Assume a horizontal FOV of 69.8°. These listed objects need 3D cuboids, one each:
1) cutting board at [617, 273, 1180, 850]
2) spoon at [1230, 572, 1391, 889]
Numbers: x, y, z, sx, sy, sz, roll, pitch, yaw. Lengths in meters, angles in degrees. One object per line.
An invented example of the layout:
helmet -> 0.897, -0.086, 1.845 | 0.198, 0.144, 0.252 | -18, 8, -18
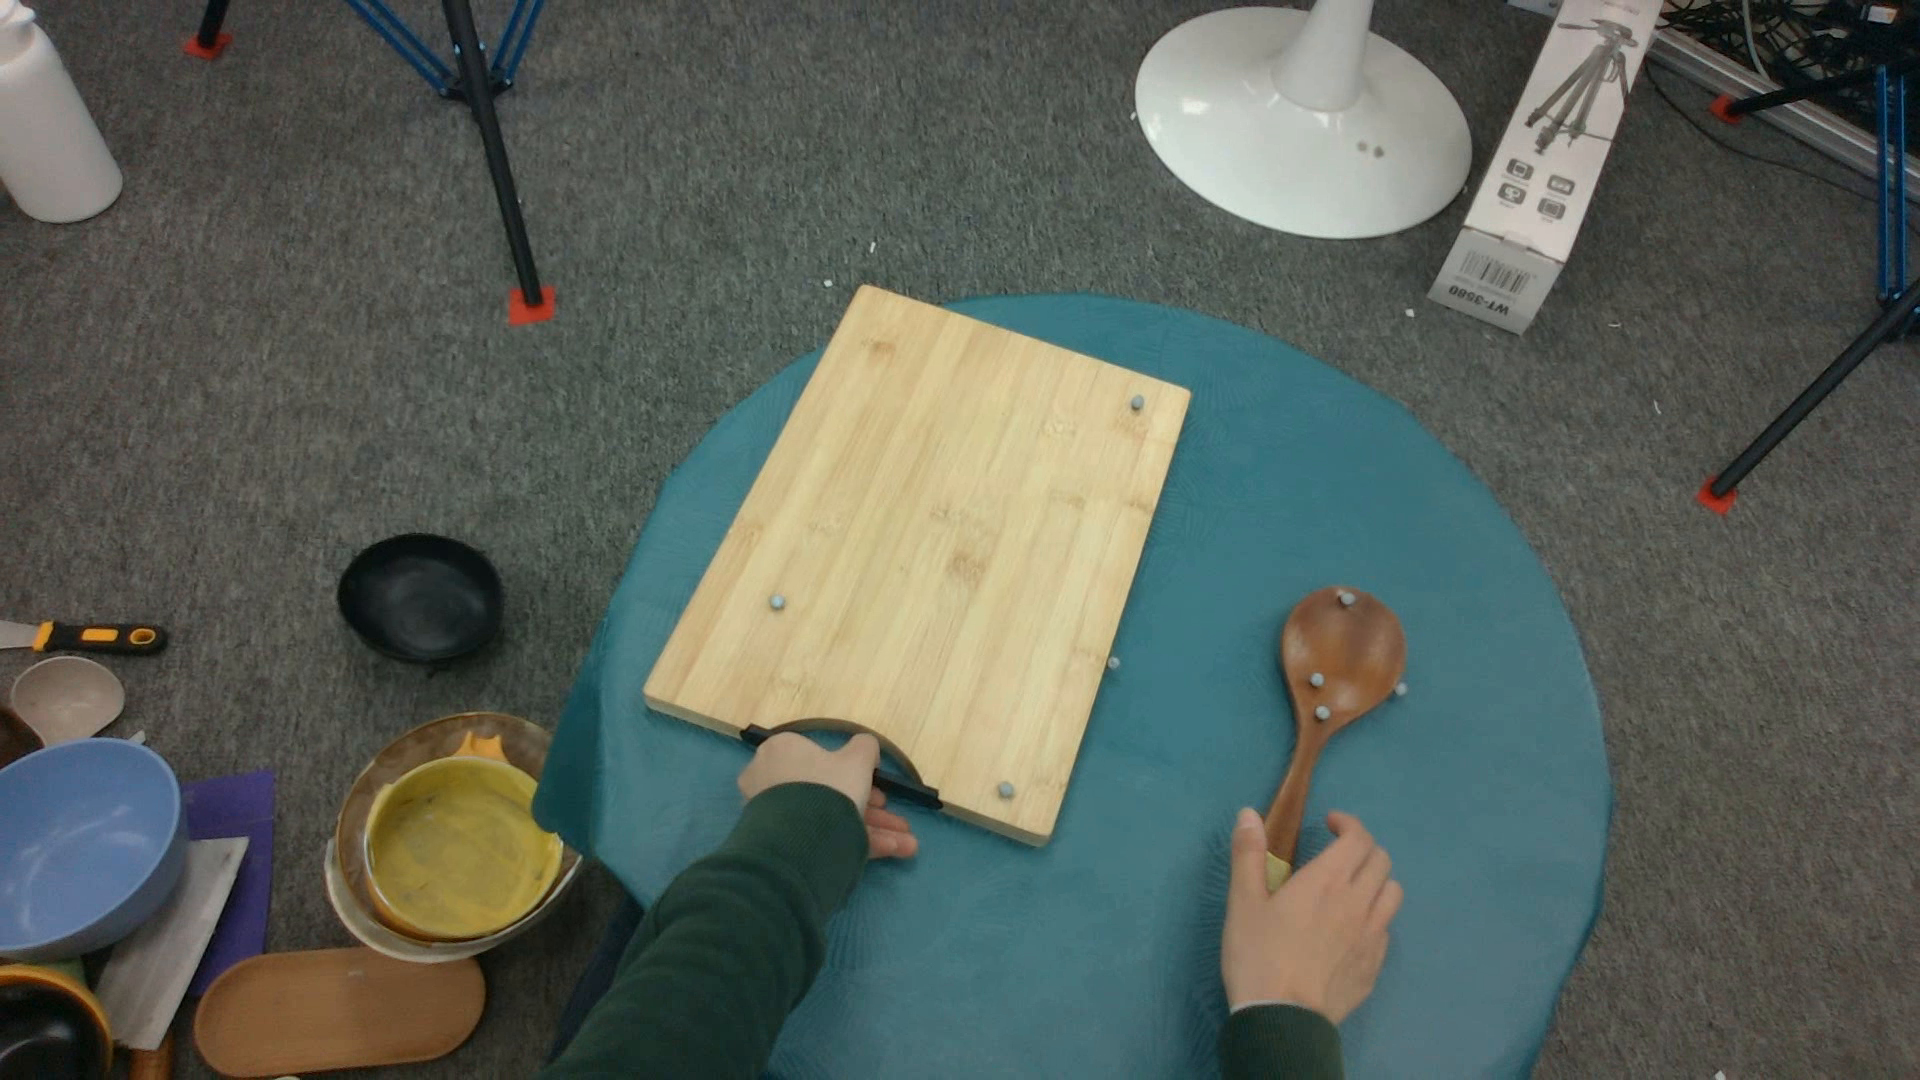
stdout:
cutting board -> -0.020, -0.006, 0.846 | 0.250, 0.023, 0.350 | 18, 56, 5
spoon -> 0.198, 0.106, 0.801 | 0.075, 0.017, 0.217 | 24, 56, 6
